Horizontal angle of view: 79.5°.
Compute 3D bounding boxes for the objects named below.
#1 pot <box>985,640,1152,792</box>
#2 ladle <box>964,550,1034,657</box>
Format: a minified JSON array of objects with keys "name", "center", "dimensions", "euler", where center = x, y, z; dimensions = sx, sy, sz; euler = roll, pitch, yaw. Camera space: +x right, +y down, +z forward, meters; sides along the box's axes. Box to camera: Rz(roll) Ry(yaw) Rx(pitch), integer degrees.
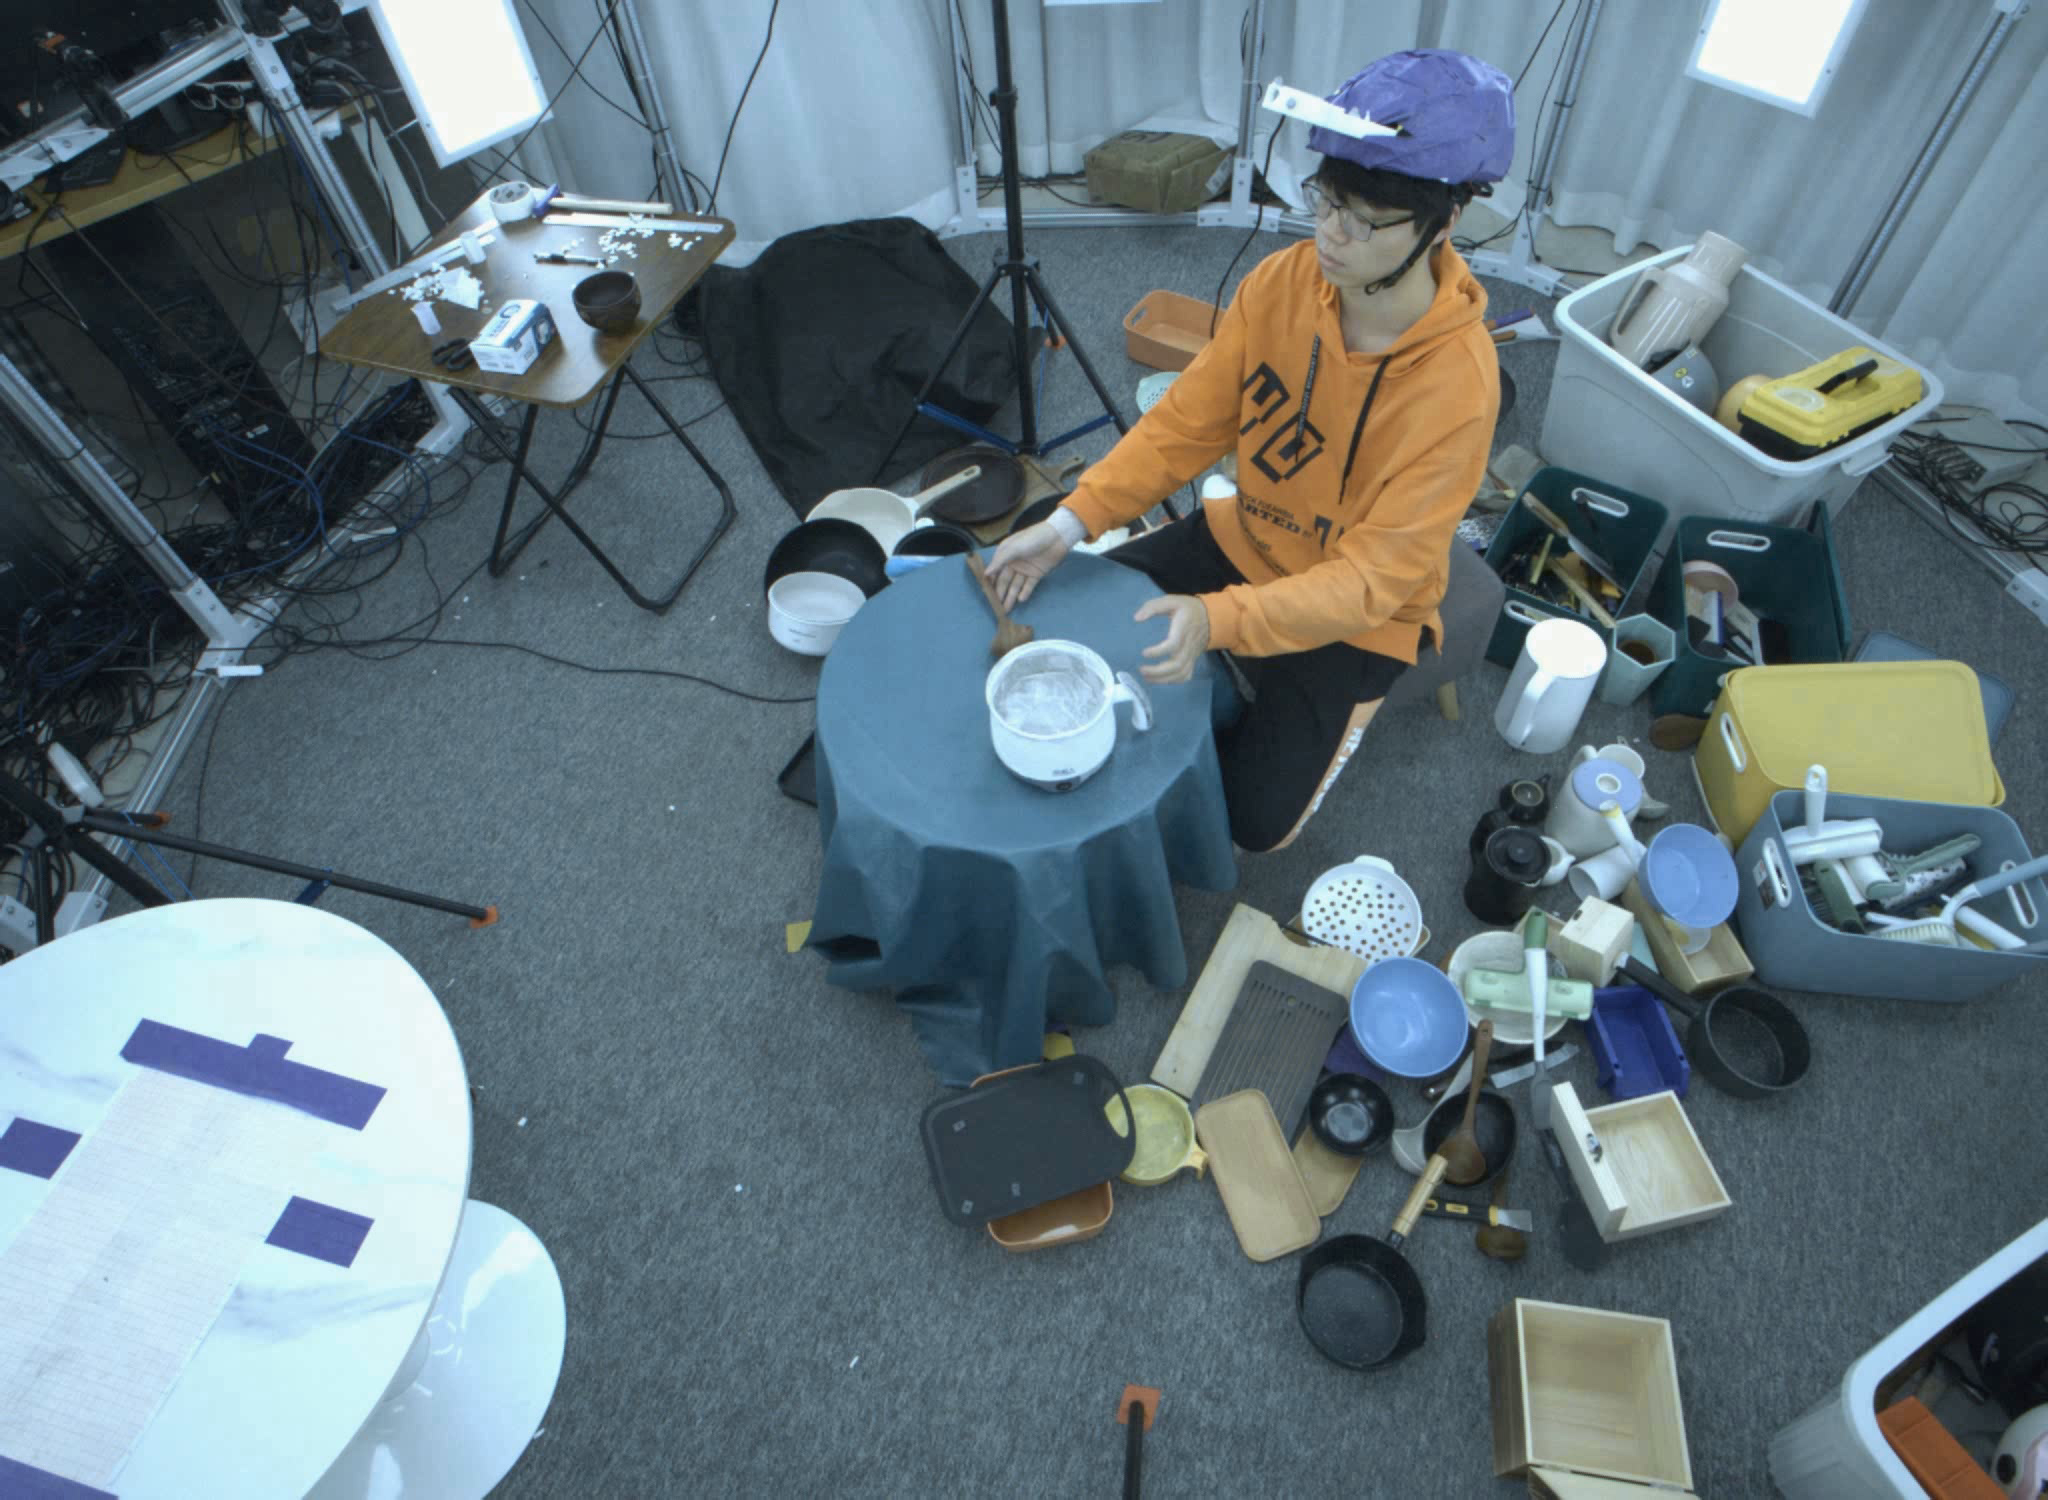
[{"name":"pot","center":[0.066,-0.052,1.737],"dimensions":[0.234,0.138,0.176],"euler":[-11,55,-5]},{"name":"ladle","center":[-0.052,-0.241,1.920],"dimensions":[0.077,0.066,0.256],"euler":[-20,57,-4]}]
